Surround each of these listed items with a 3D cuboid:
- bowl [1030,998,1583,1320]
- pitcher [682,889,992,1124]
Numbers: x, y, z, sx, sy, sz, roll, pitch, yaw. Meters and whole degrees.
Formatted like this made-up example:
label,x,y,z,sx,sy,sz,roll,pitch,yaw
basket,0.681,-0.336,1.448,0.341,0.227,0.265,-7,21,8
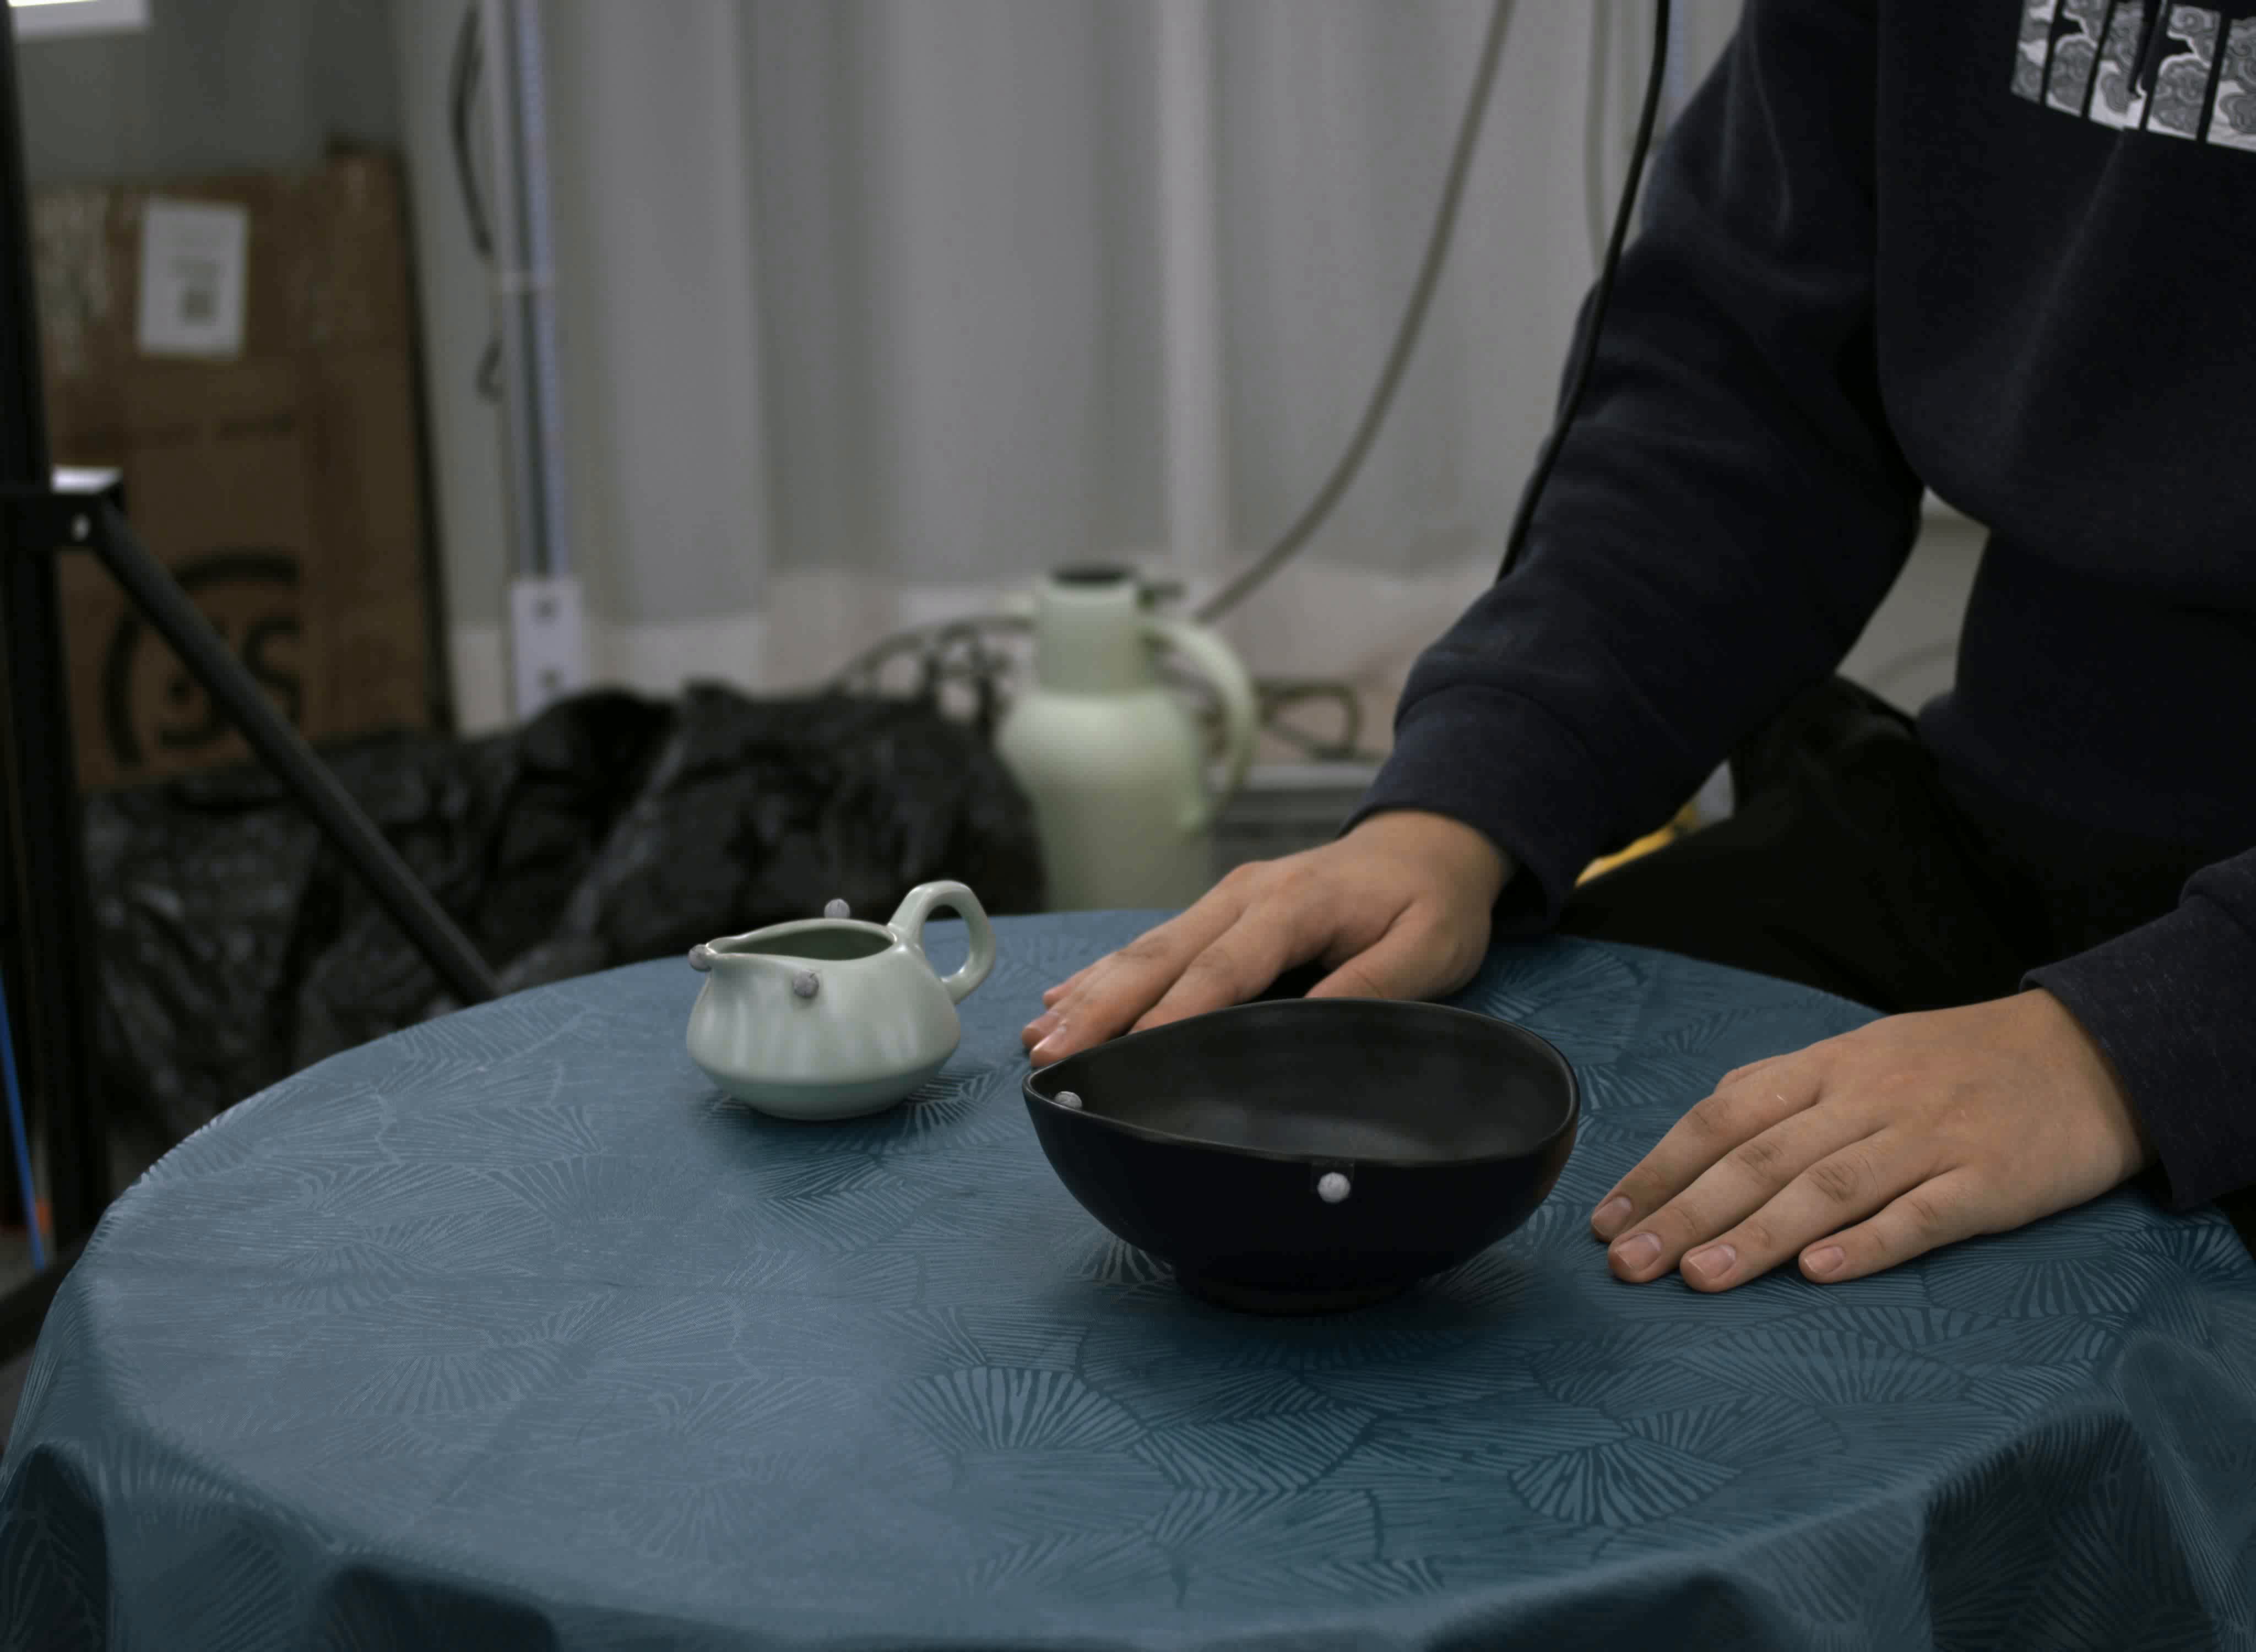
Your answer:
label,x,y,z,sx,sy,sz,roll,pitch,yaw
bowl,0.048,0.097,1.475,0.174,0.067,0.134,10,19,41
pitcher,-0.087,0.055,1.654,0.105,0.060,0.088,-12,19,-38
